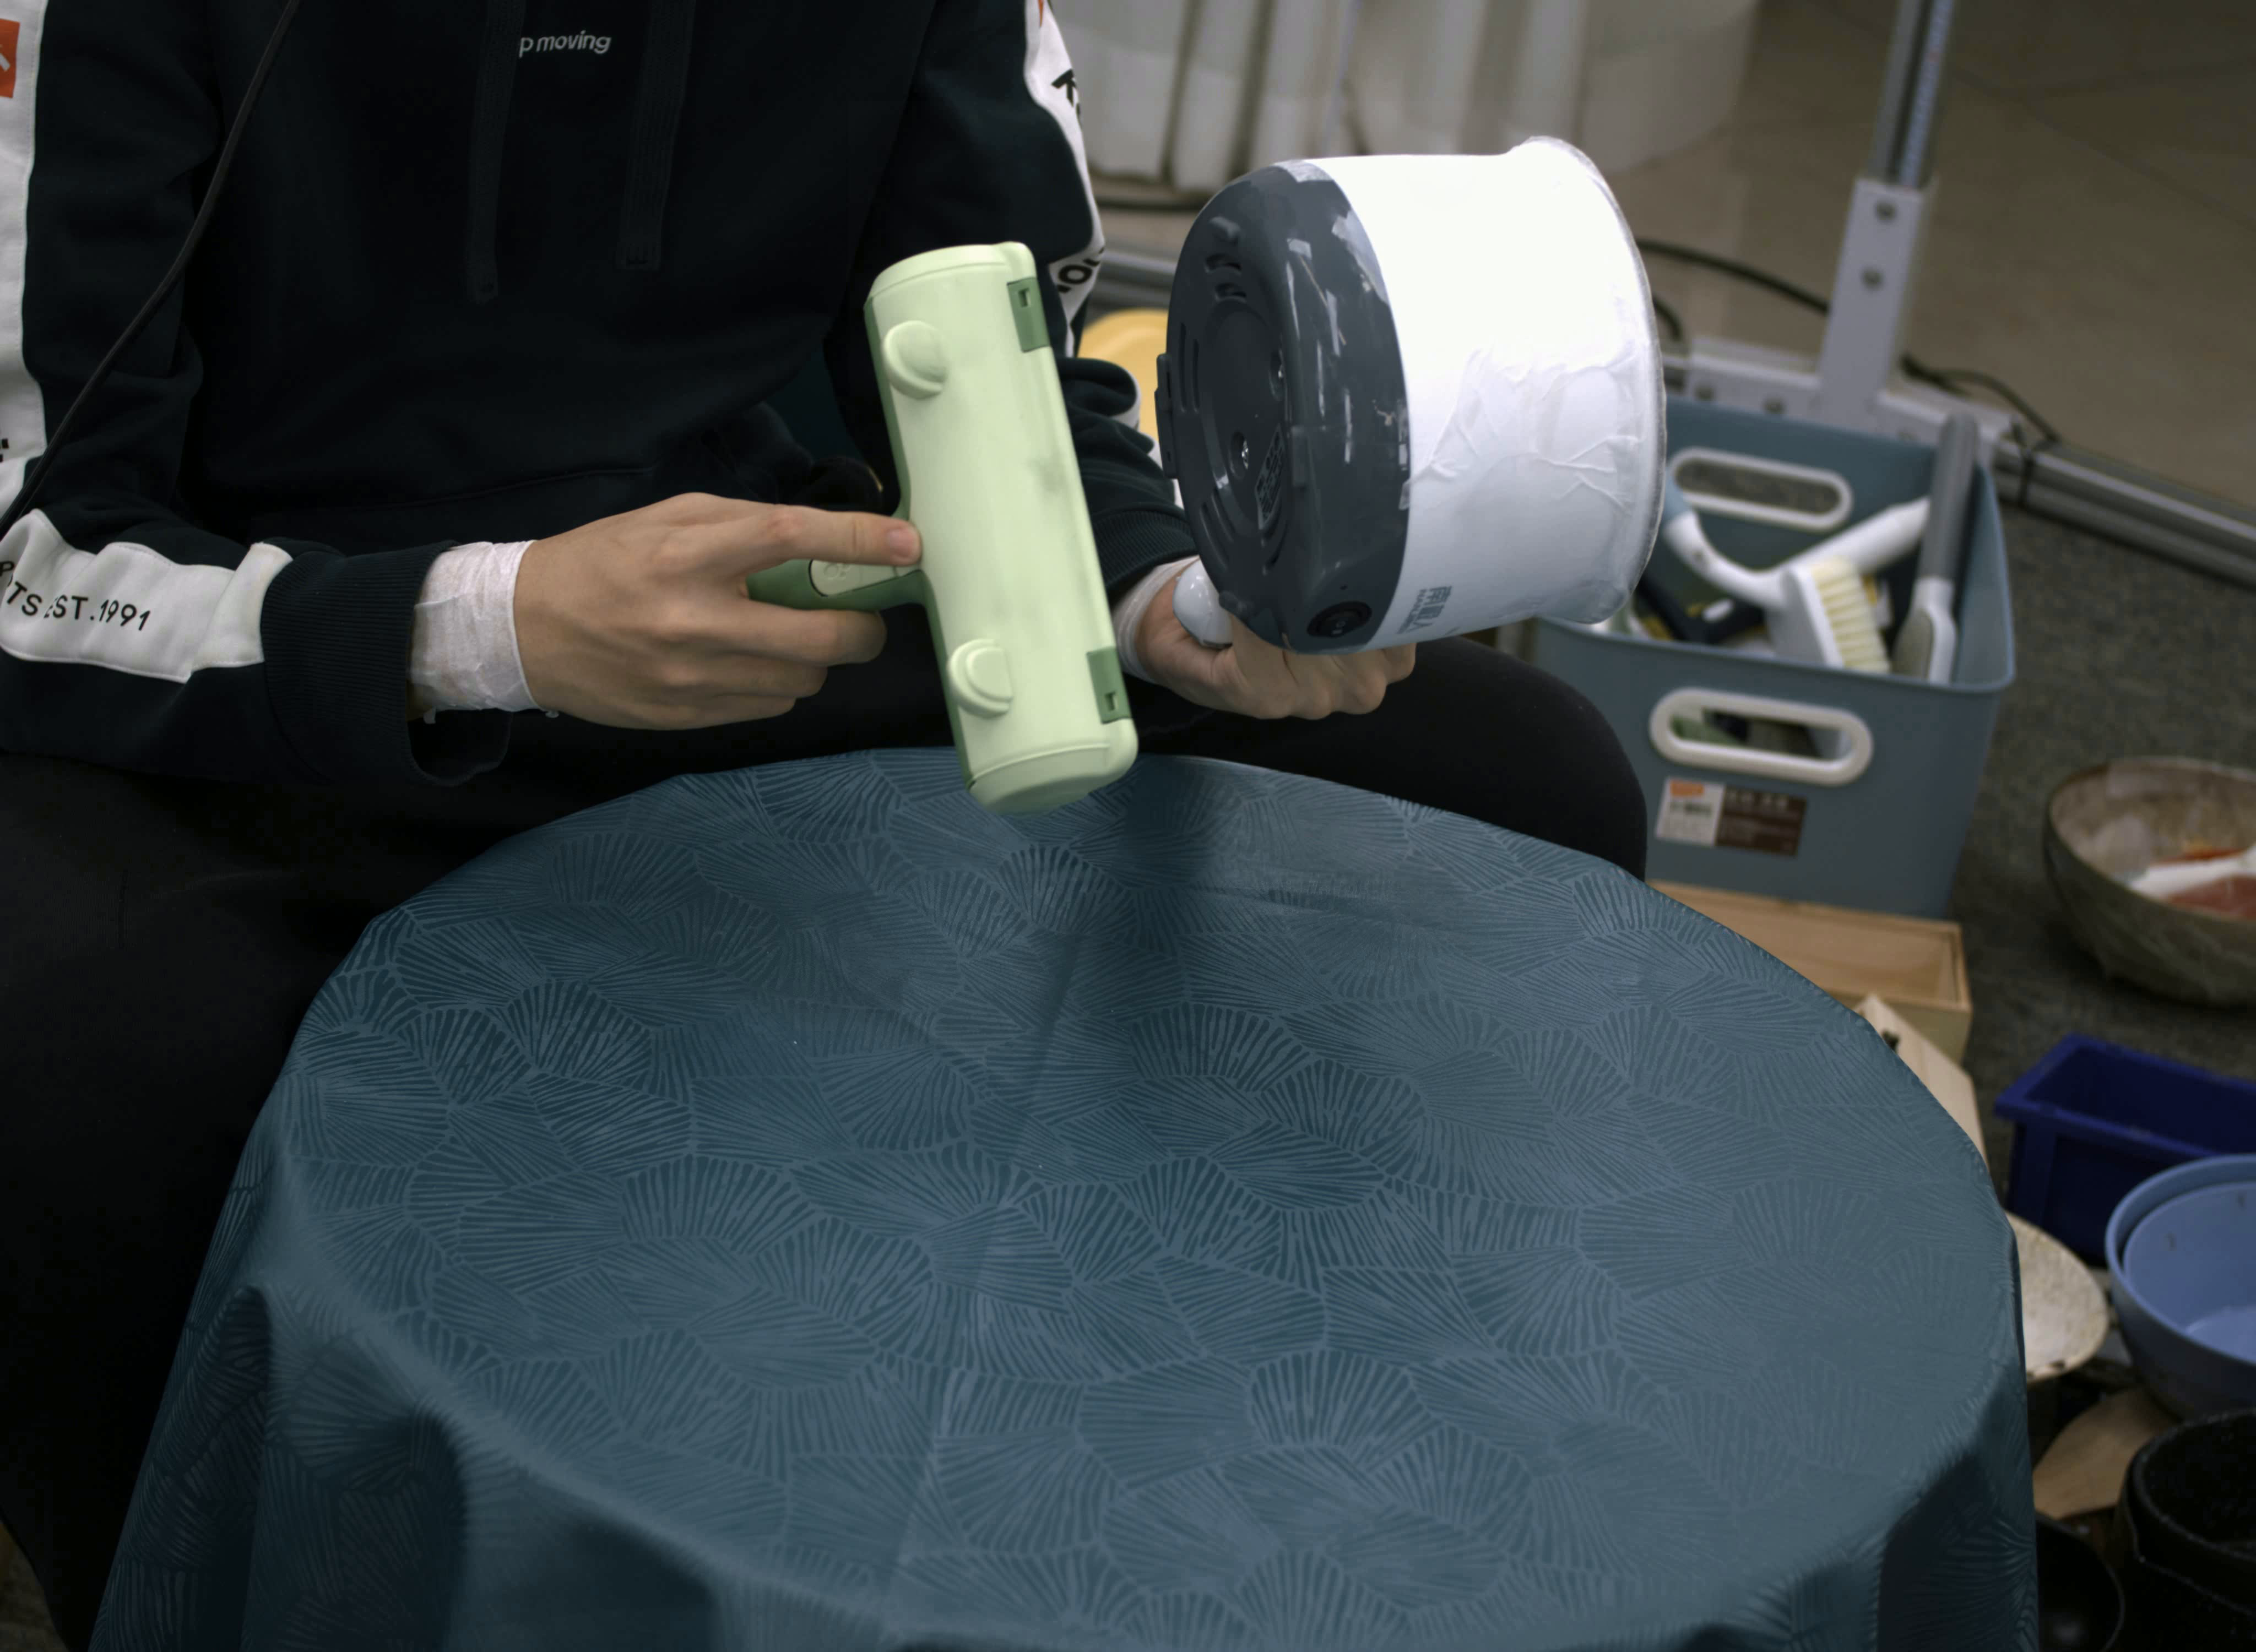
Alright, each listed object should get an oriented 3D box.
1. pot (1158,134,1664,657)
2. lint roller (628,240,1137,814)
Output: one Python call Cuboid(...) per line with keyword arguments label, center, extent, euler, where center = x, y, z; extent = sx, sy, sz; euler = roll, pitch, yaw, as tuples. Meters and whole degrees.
Cuboid(label="pot", center=(0.092, -0.140, 1.928), extent=(0.136, 0.233, 0.180), euler=(-7, 62, -17))
Cuboid(label="lint roller", center=(-0.101, -0.091, 1.863), extent=(0.183, 0.200, 0.082), euler=(-15, -13, 13))
